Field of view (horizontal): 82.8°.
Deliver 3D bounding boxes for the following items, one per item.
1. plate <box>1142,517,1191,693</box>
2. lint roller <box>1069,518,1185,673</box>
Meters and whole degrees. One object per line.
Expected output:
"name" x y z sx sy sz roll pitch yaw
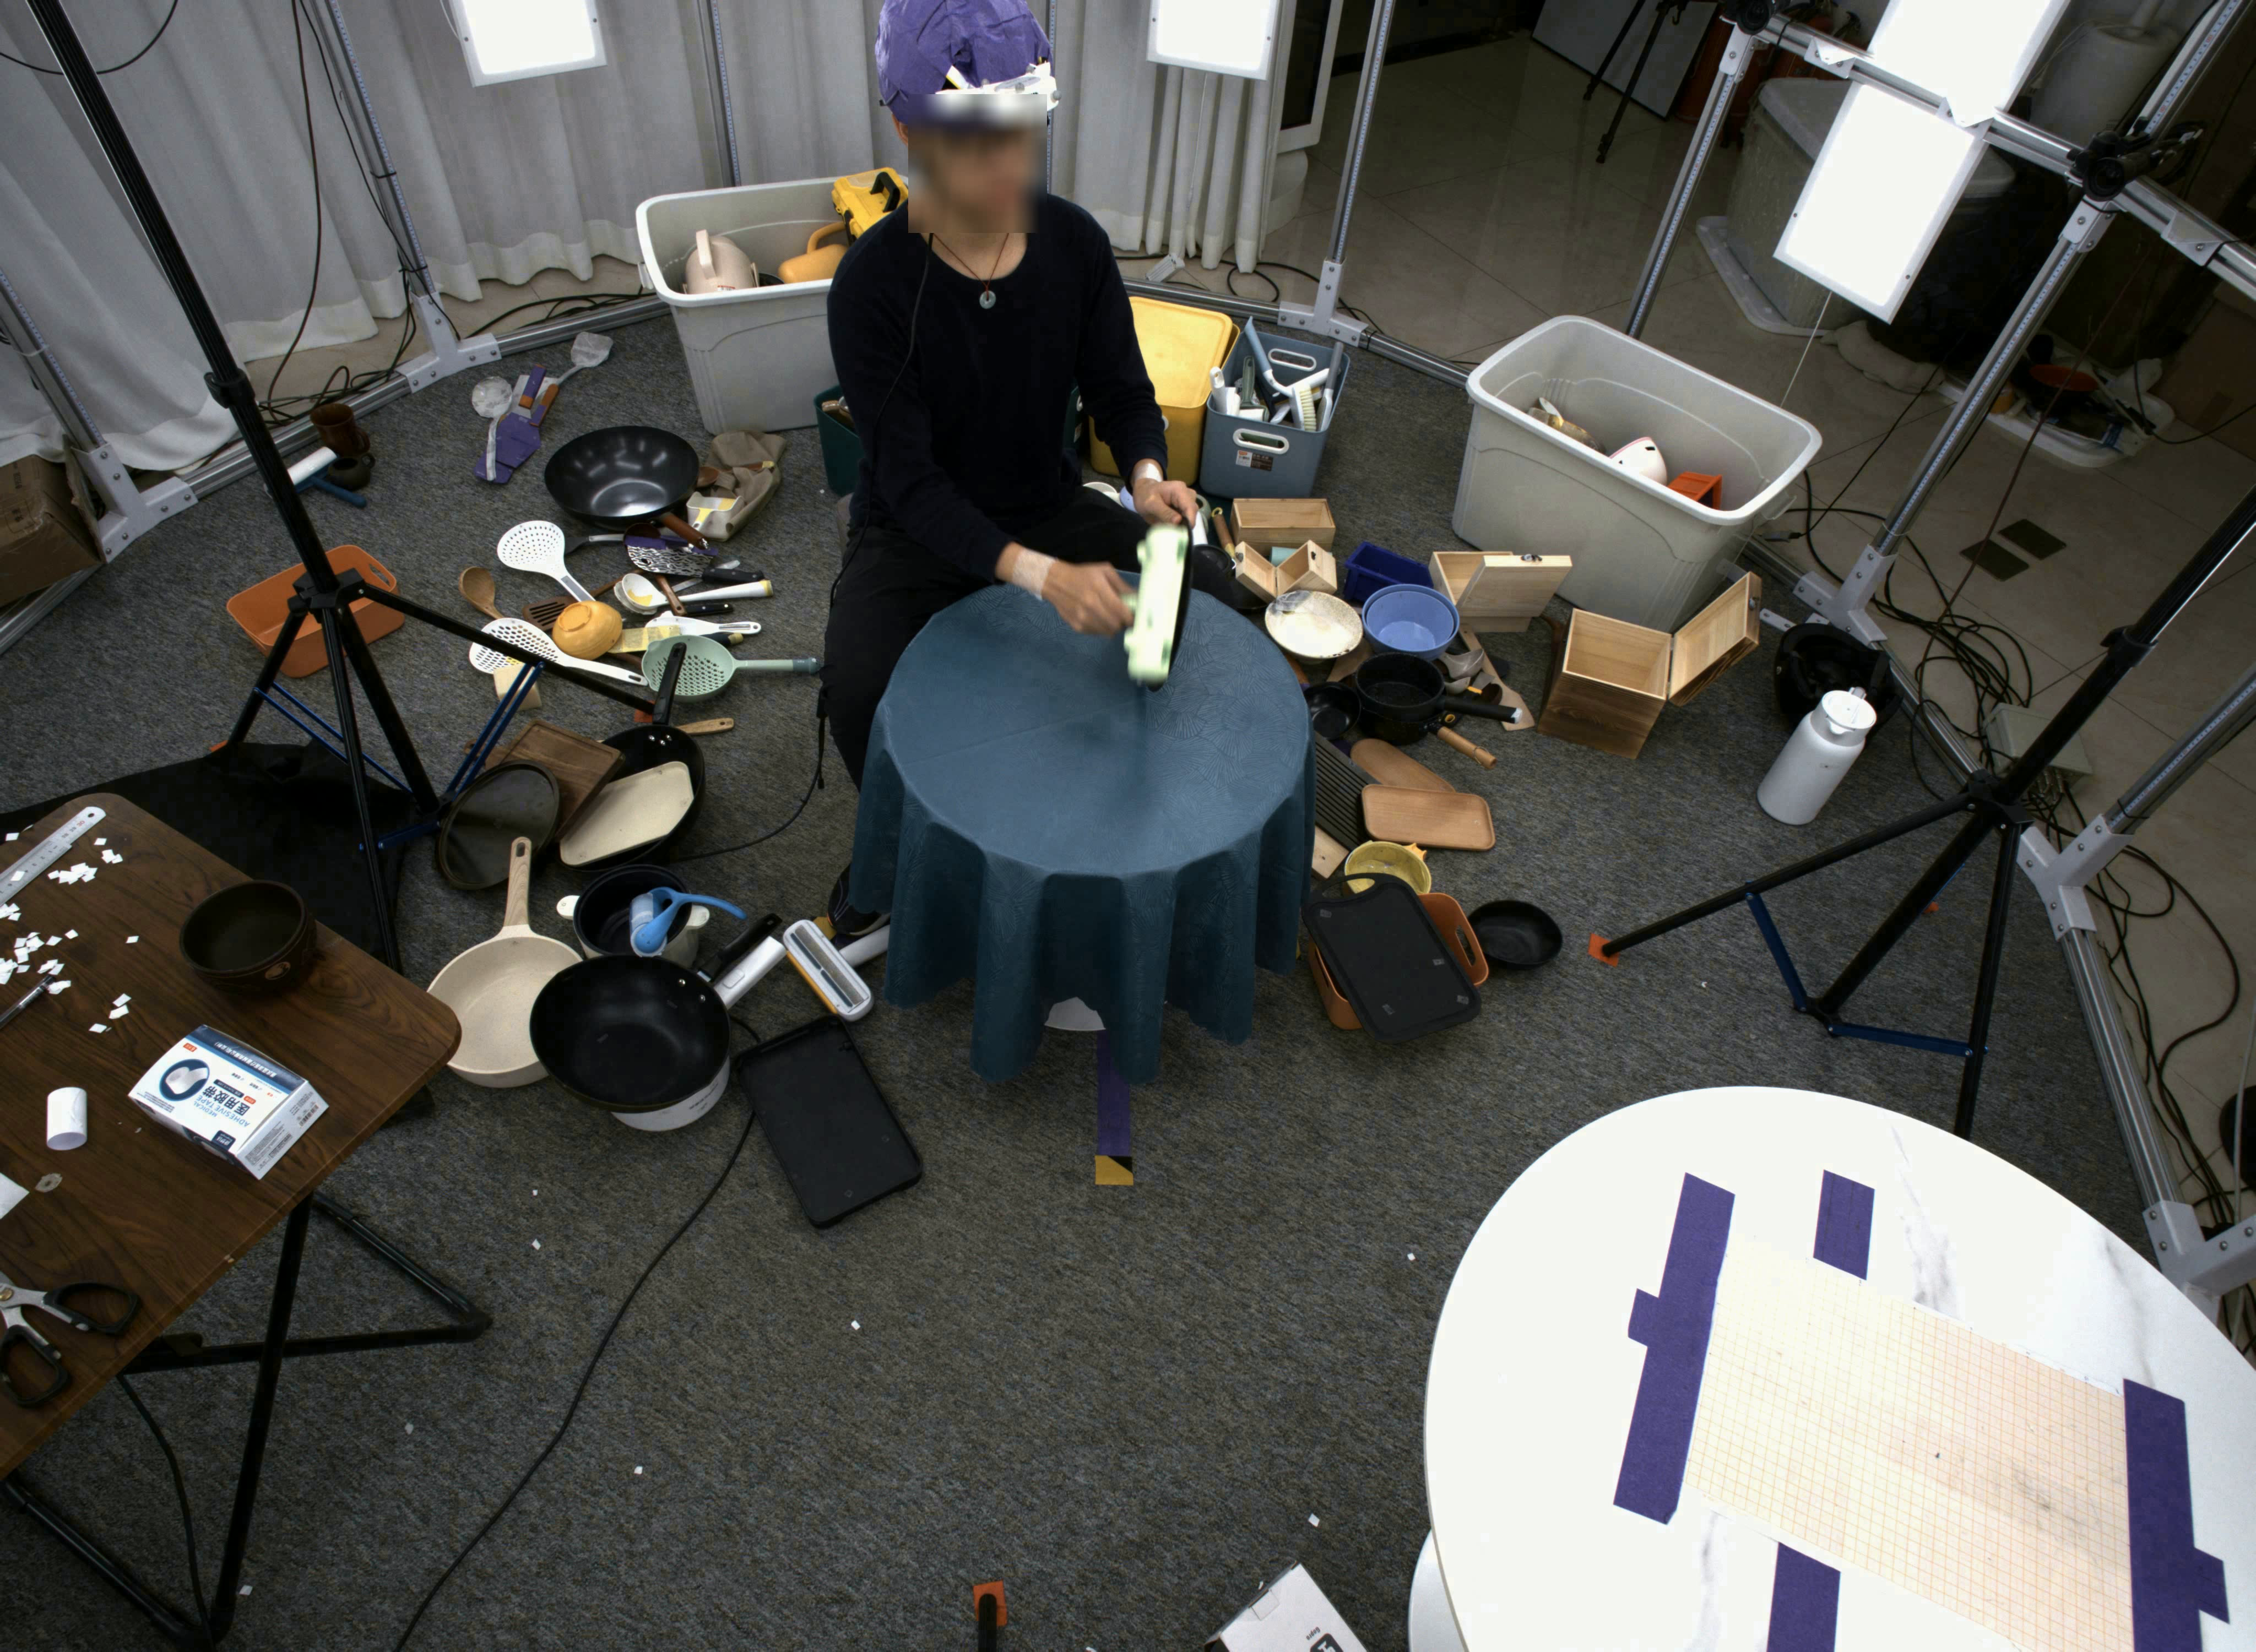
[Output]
"plate" 0.045 -0.307 1.781 0.023 0.239 0.250 9 48 -11
"lint roller" -0.015 -0.303 1.693 0.184 0.081 0.200 3 81 30
